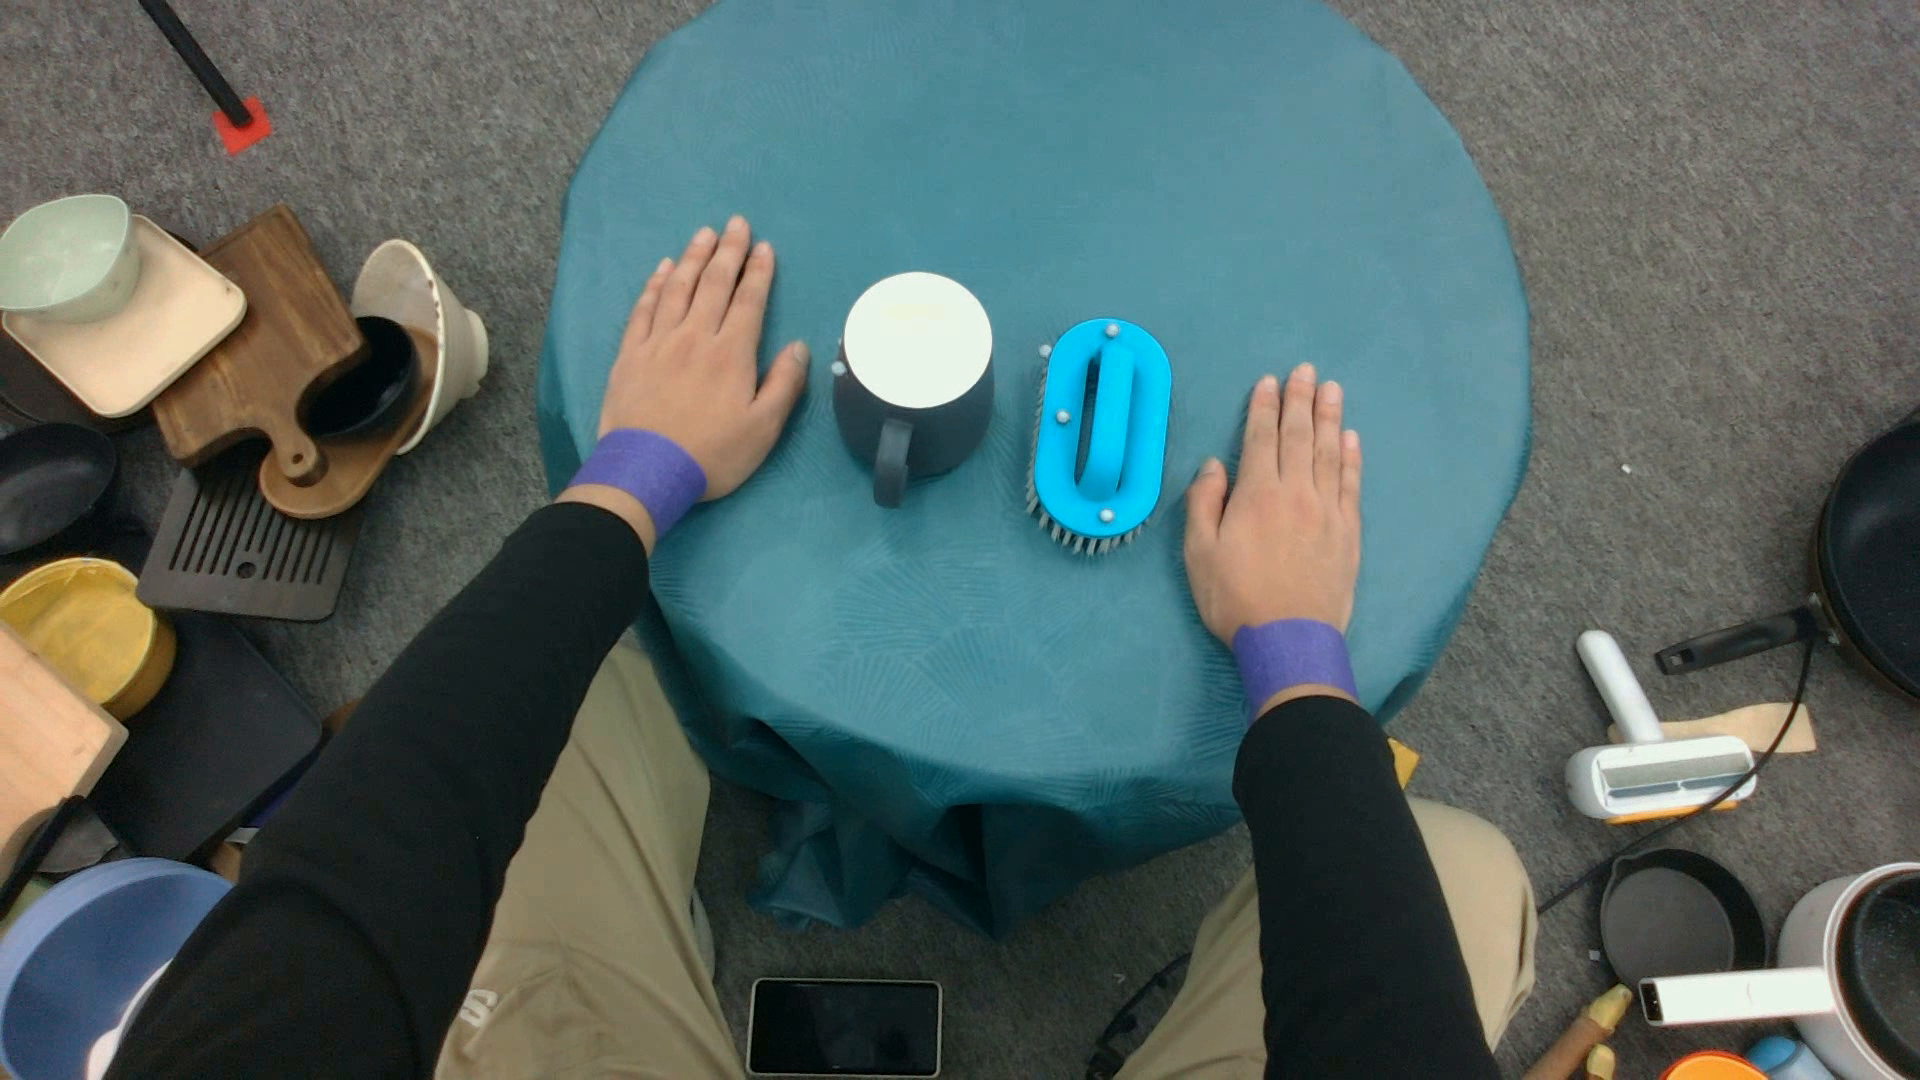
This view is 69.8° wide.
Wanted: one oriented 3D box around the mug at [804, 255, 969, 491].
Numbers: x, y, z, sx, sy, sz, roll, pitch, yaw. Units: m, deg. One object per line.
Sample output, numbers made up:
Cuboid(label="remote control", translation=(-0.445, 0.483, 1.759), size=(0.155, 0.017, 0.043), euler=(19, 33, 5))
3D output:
Cuboid(label="mug", translation=(-0.043, -0.087, 0.759), size=(0.093, 0.089, 0.123), euler=(14, 68, 0))

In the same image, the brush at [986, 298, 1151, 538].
Cuboid(label="brush", translation=(0.065, -0.075, 0.781), size=(0.084, 0.063, 0.142), euler=(12, 71, -6))
